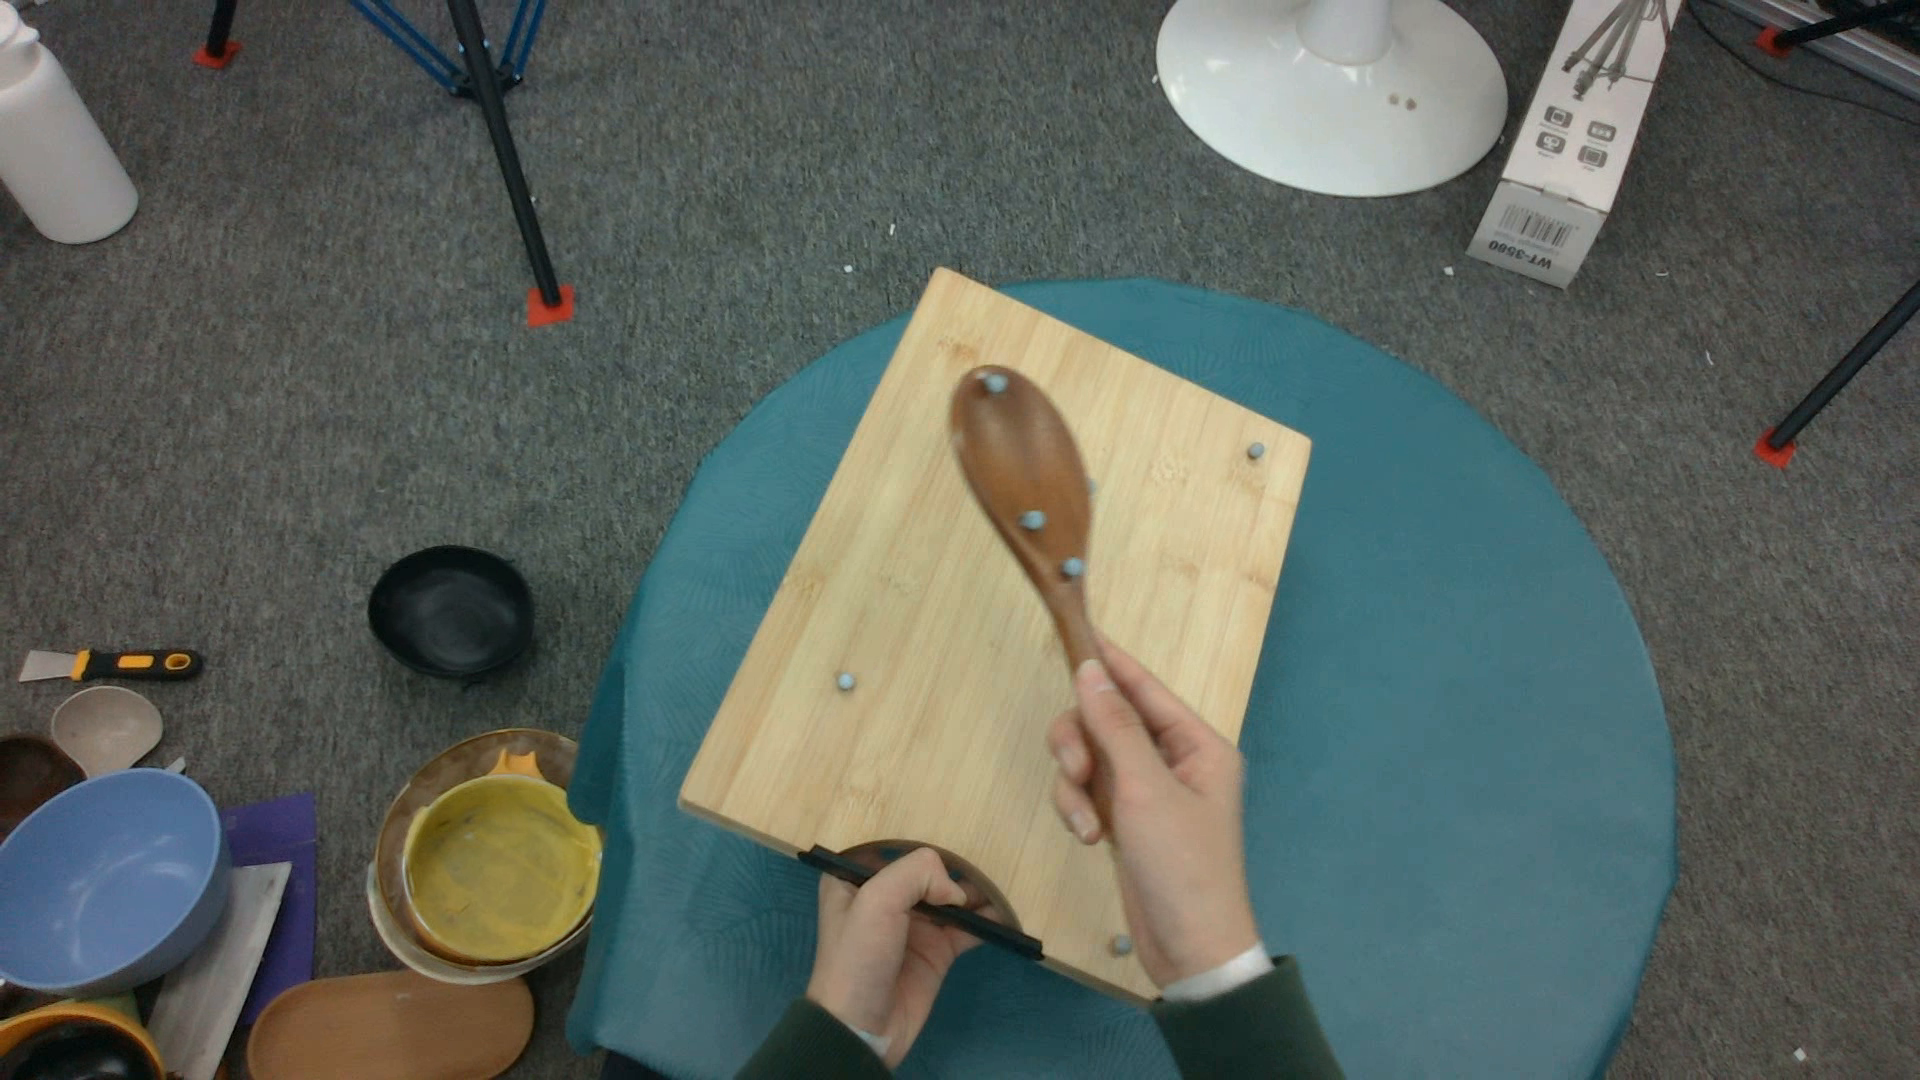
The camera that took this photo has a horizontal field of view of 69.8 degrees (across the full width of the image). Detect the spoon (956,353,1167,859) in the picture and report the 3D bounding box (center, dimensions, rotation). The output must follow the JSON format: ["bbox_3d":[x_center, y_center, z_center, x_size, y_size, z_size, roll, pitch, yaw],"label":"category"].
[{"bbox_3d":[0.041,0.021,0.555,0.075,0.017,0.216,5,62,-47],"label":"spoon"}]

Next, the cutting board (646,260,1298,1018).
[{"bbox_3d":[0.029,0.030,0.700,0.251,0.023,0.350,23,58,-4],"label":"cutting board"}]
